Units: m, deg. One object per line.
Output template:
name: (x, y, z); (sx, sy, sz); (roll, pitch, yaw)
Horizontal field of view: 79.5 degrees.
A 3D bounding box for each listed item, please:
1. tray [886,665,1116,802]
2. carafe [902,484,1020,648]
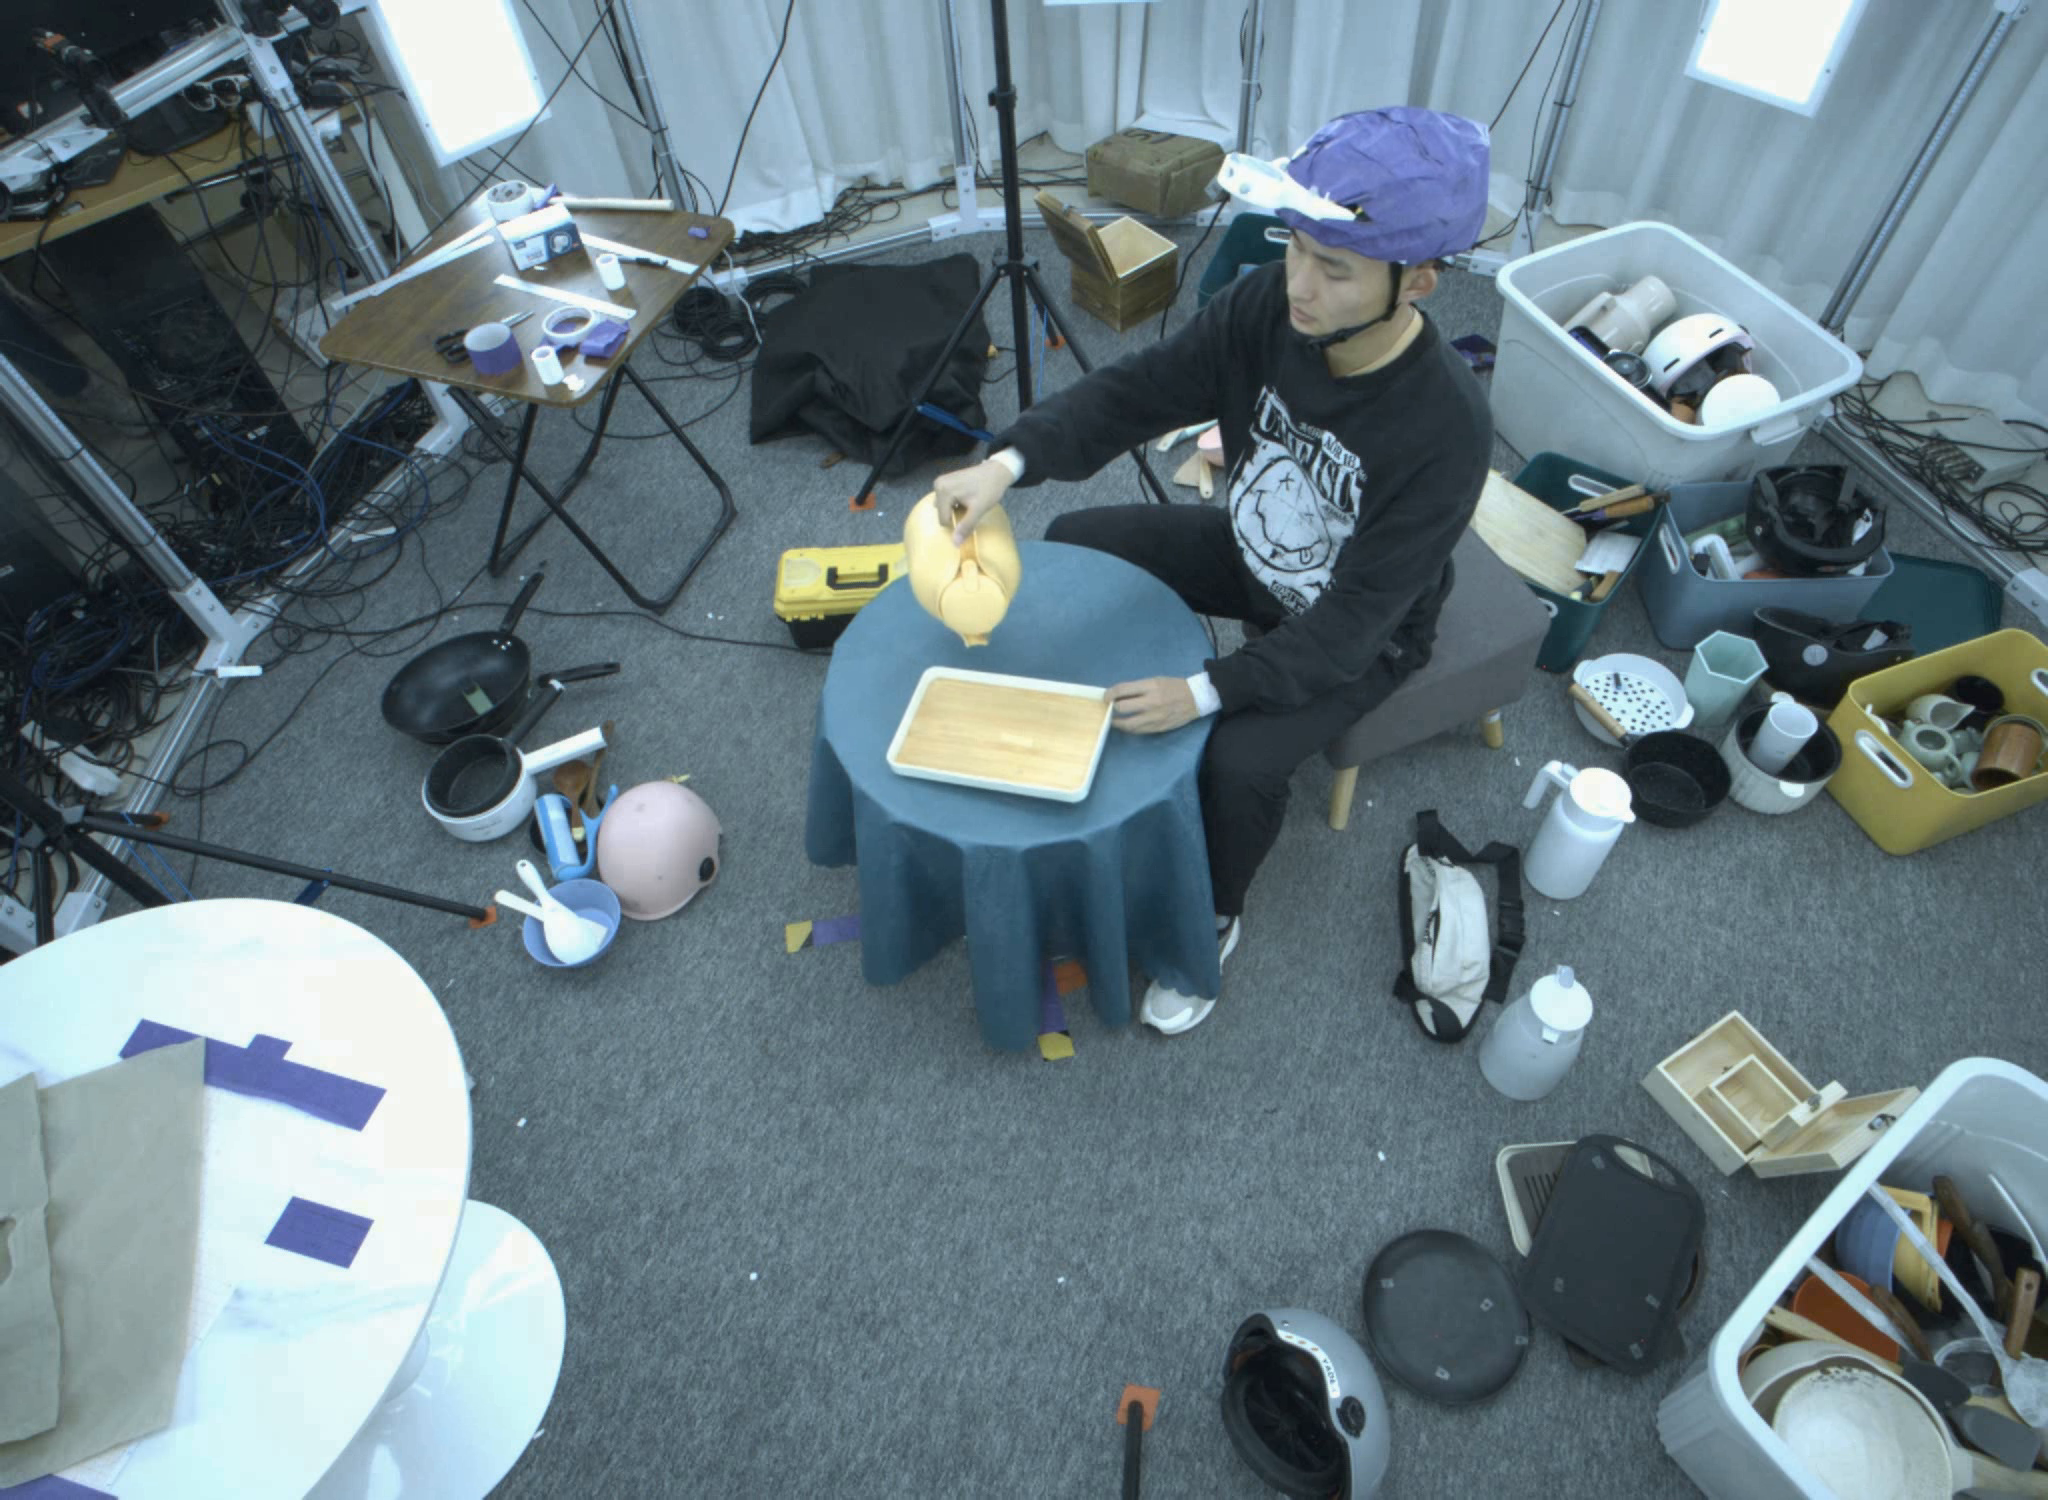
tray: (-0.033, -0.027, 1.769); (0.297, 0.028, 0.191); (9, 55, 15)
carafe: (-0.087, -0.279, 1.730); (0.164, 0.204, 0.256); (-6, 37, -8)
